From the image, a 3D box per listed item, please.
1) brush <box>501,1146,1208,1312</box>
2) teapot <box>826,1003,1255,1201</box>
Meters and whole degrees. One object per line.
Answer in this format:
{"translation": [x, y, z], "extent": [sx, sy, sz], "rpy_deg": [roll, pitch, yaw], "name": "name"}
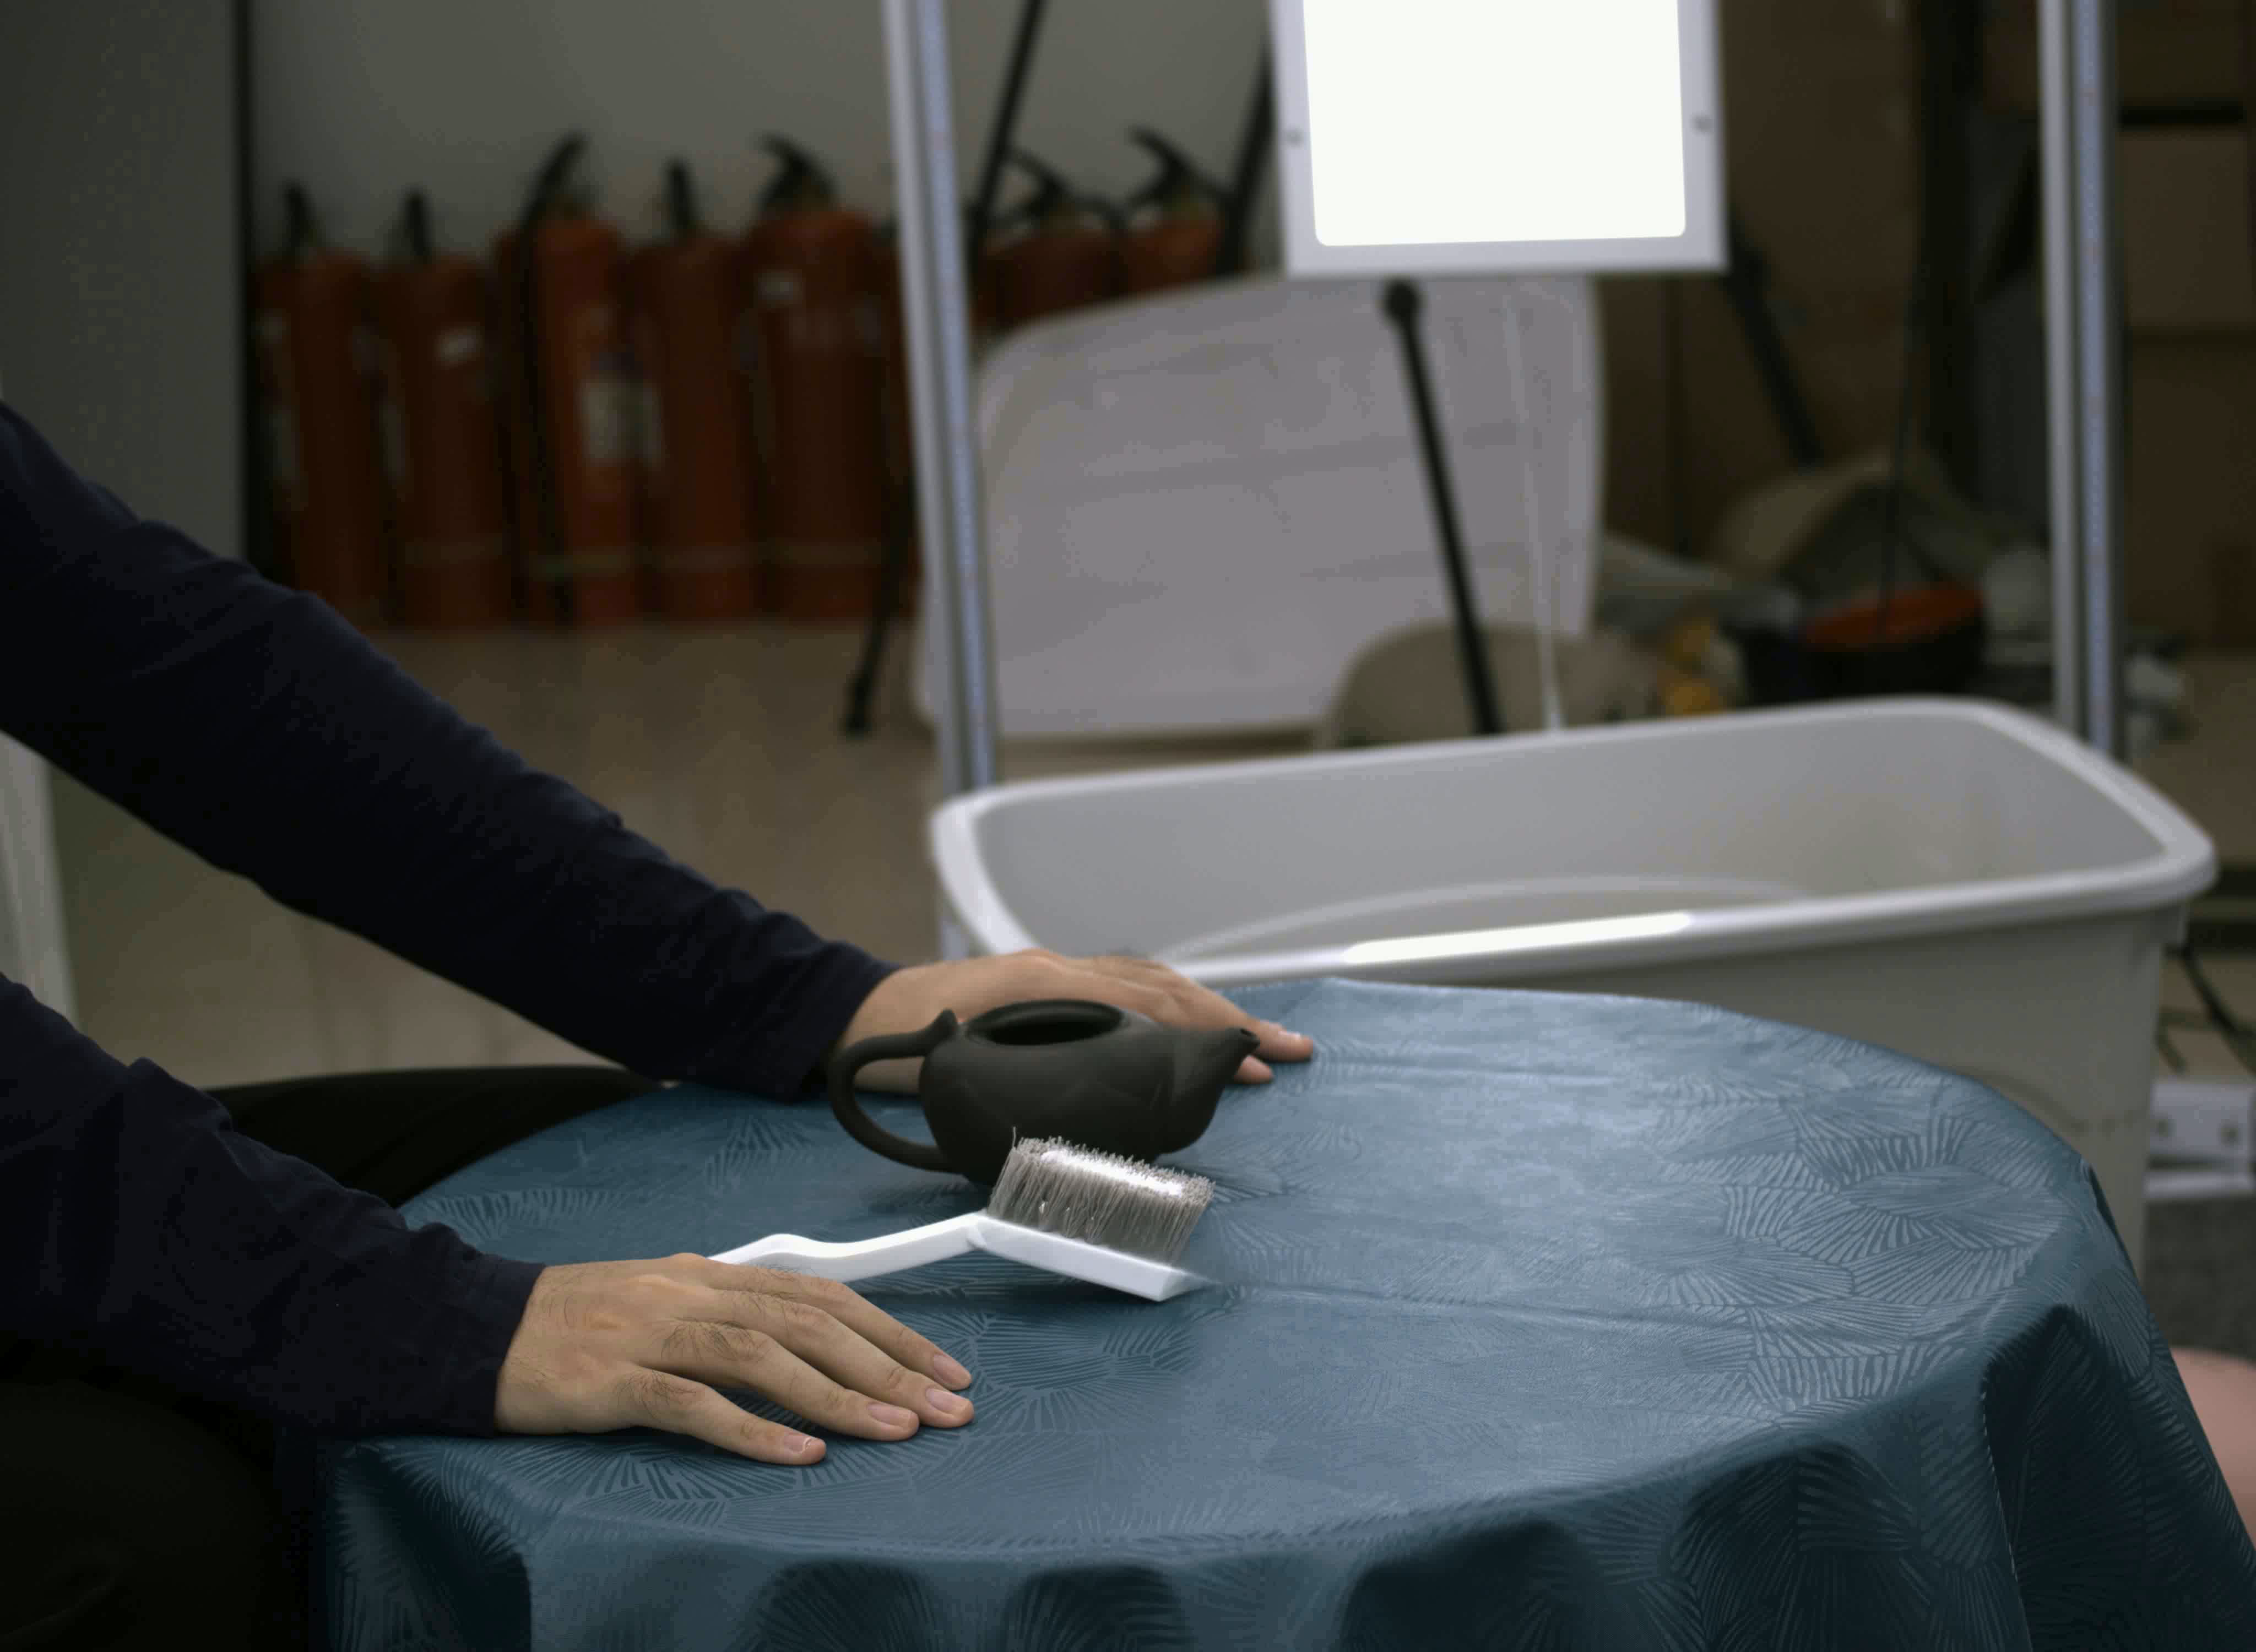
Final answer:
{"translation": [-0.093, 0.131, 1.814], "extent": [0.246, 0.050, 0.034], "rpy_deg": [-1, 19, 16], "name": "brush"}
{"translation": [-0.030, 0.095, 1.911], "extent": [0.155, 0.064, 0.091], "rpy_deg": [-3, 14, 13], "name": "teapot"}
